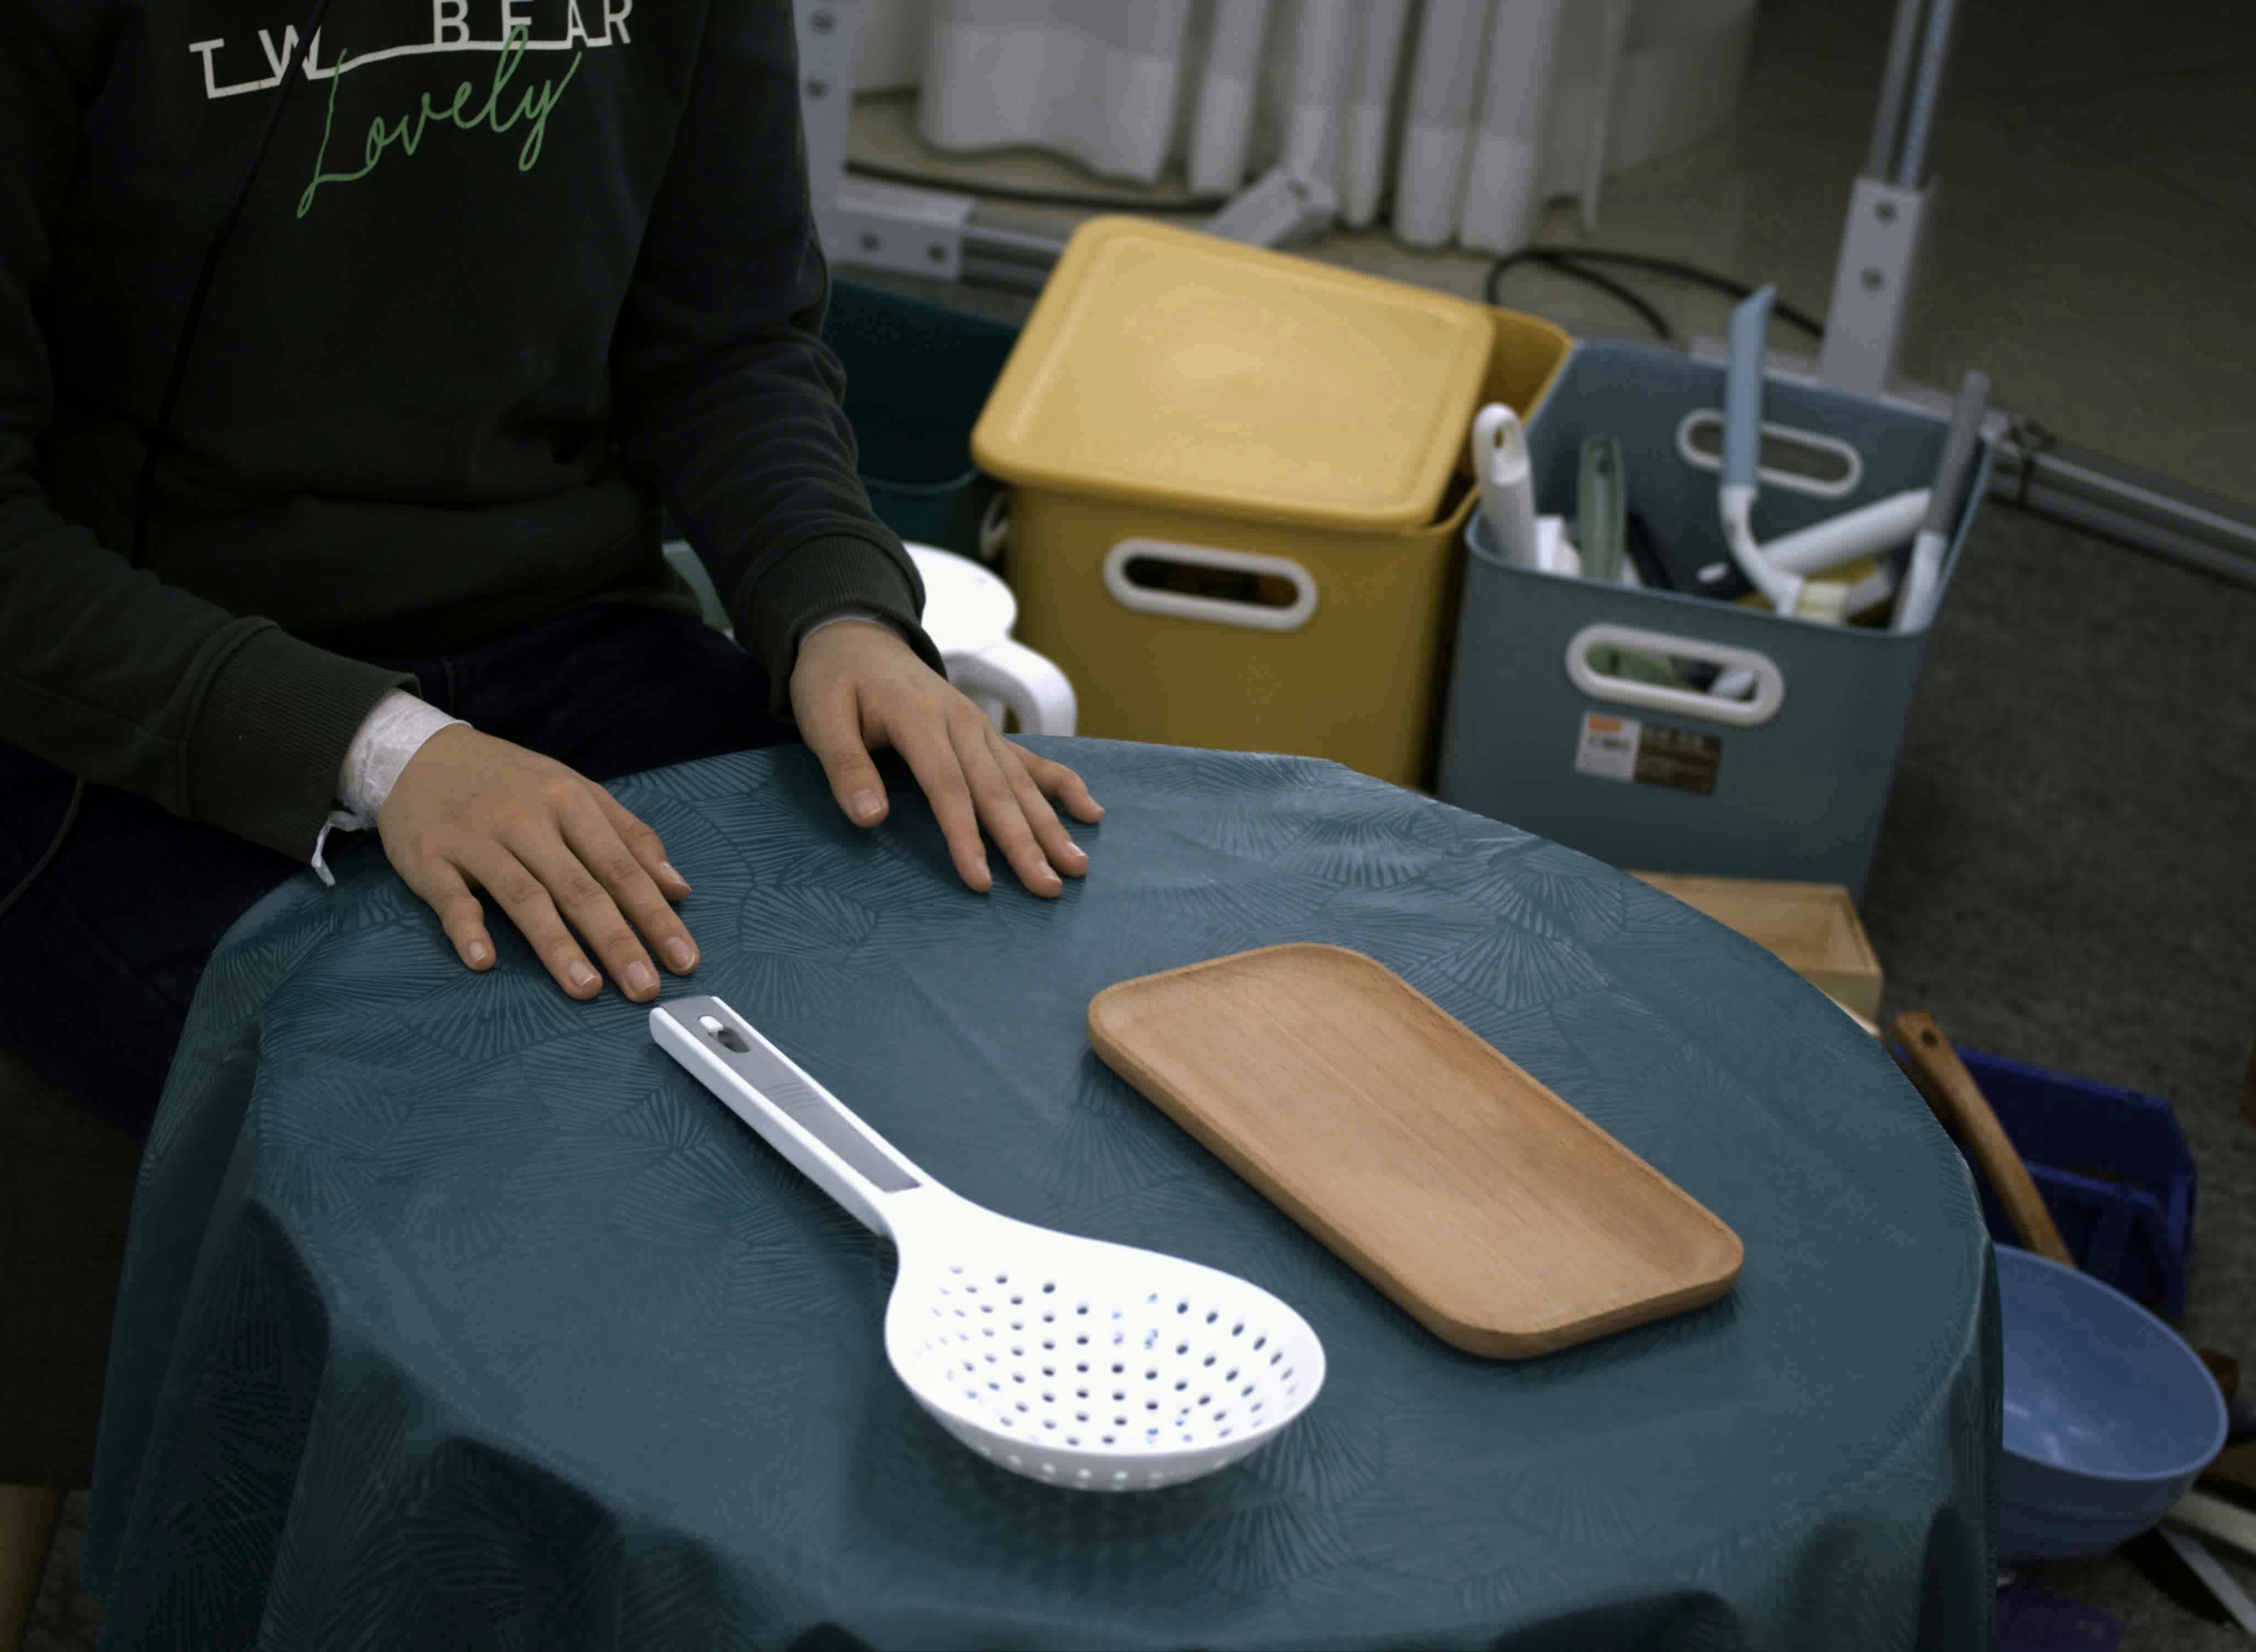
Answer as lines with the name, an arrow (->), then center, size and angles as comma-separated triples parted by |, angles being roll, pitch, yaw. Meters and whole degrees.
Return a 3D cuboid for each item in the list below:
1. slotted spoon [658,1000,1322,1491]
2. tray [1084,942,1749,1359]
slotted spoon -> -0.064, 0.129, 1.724 | 0.135, 0.045, 0.353 | -8, 29, -31
tray -> 0.095, 0.109, 1.833 | 0.130, 0.023, 0.253 | -10, 30, -33
